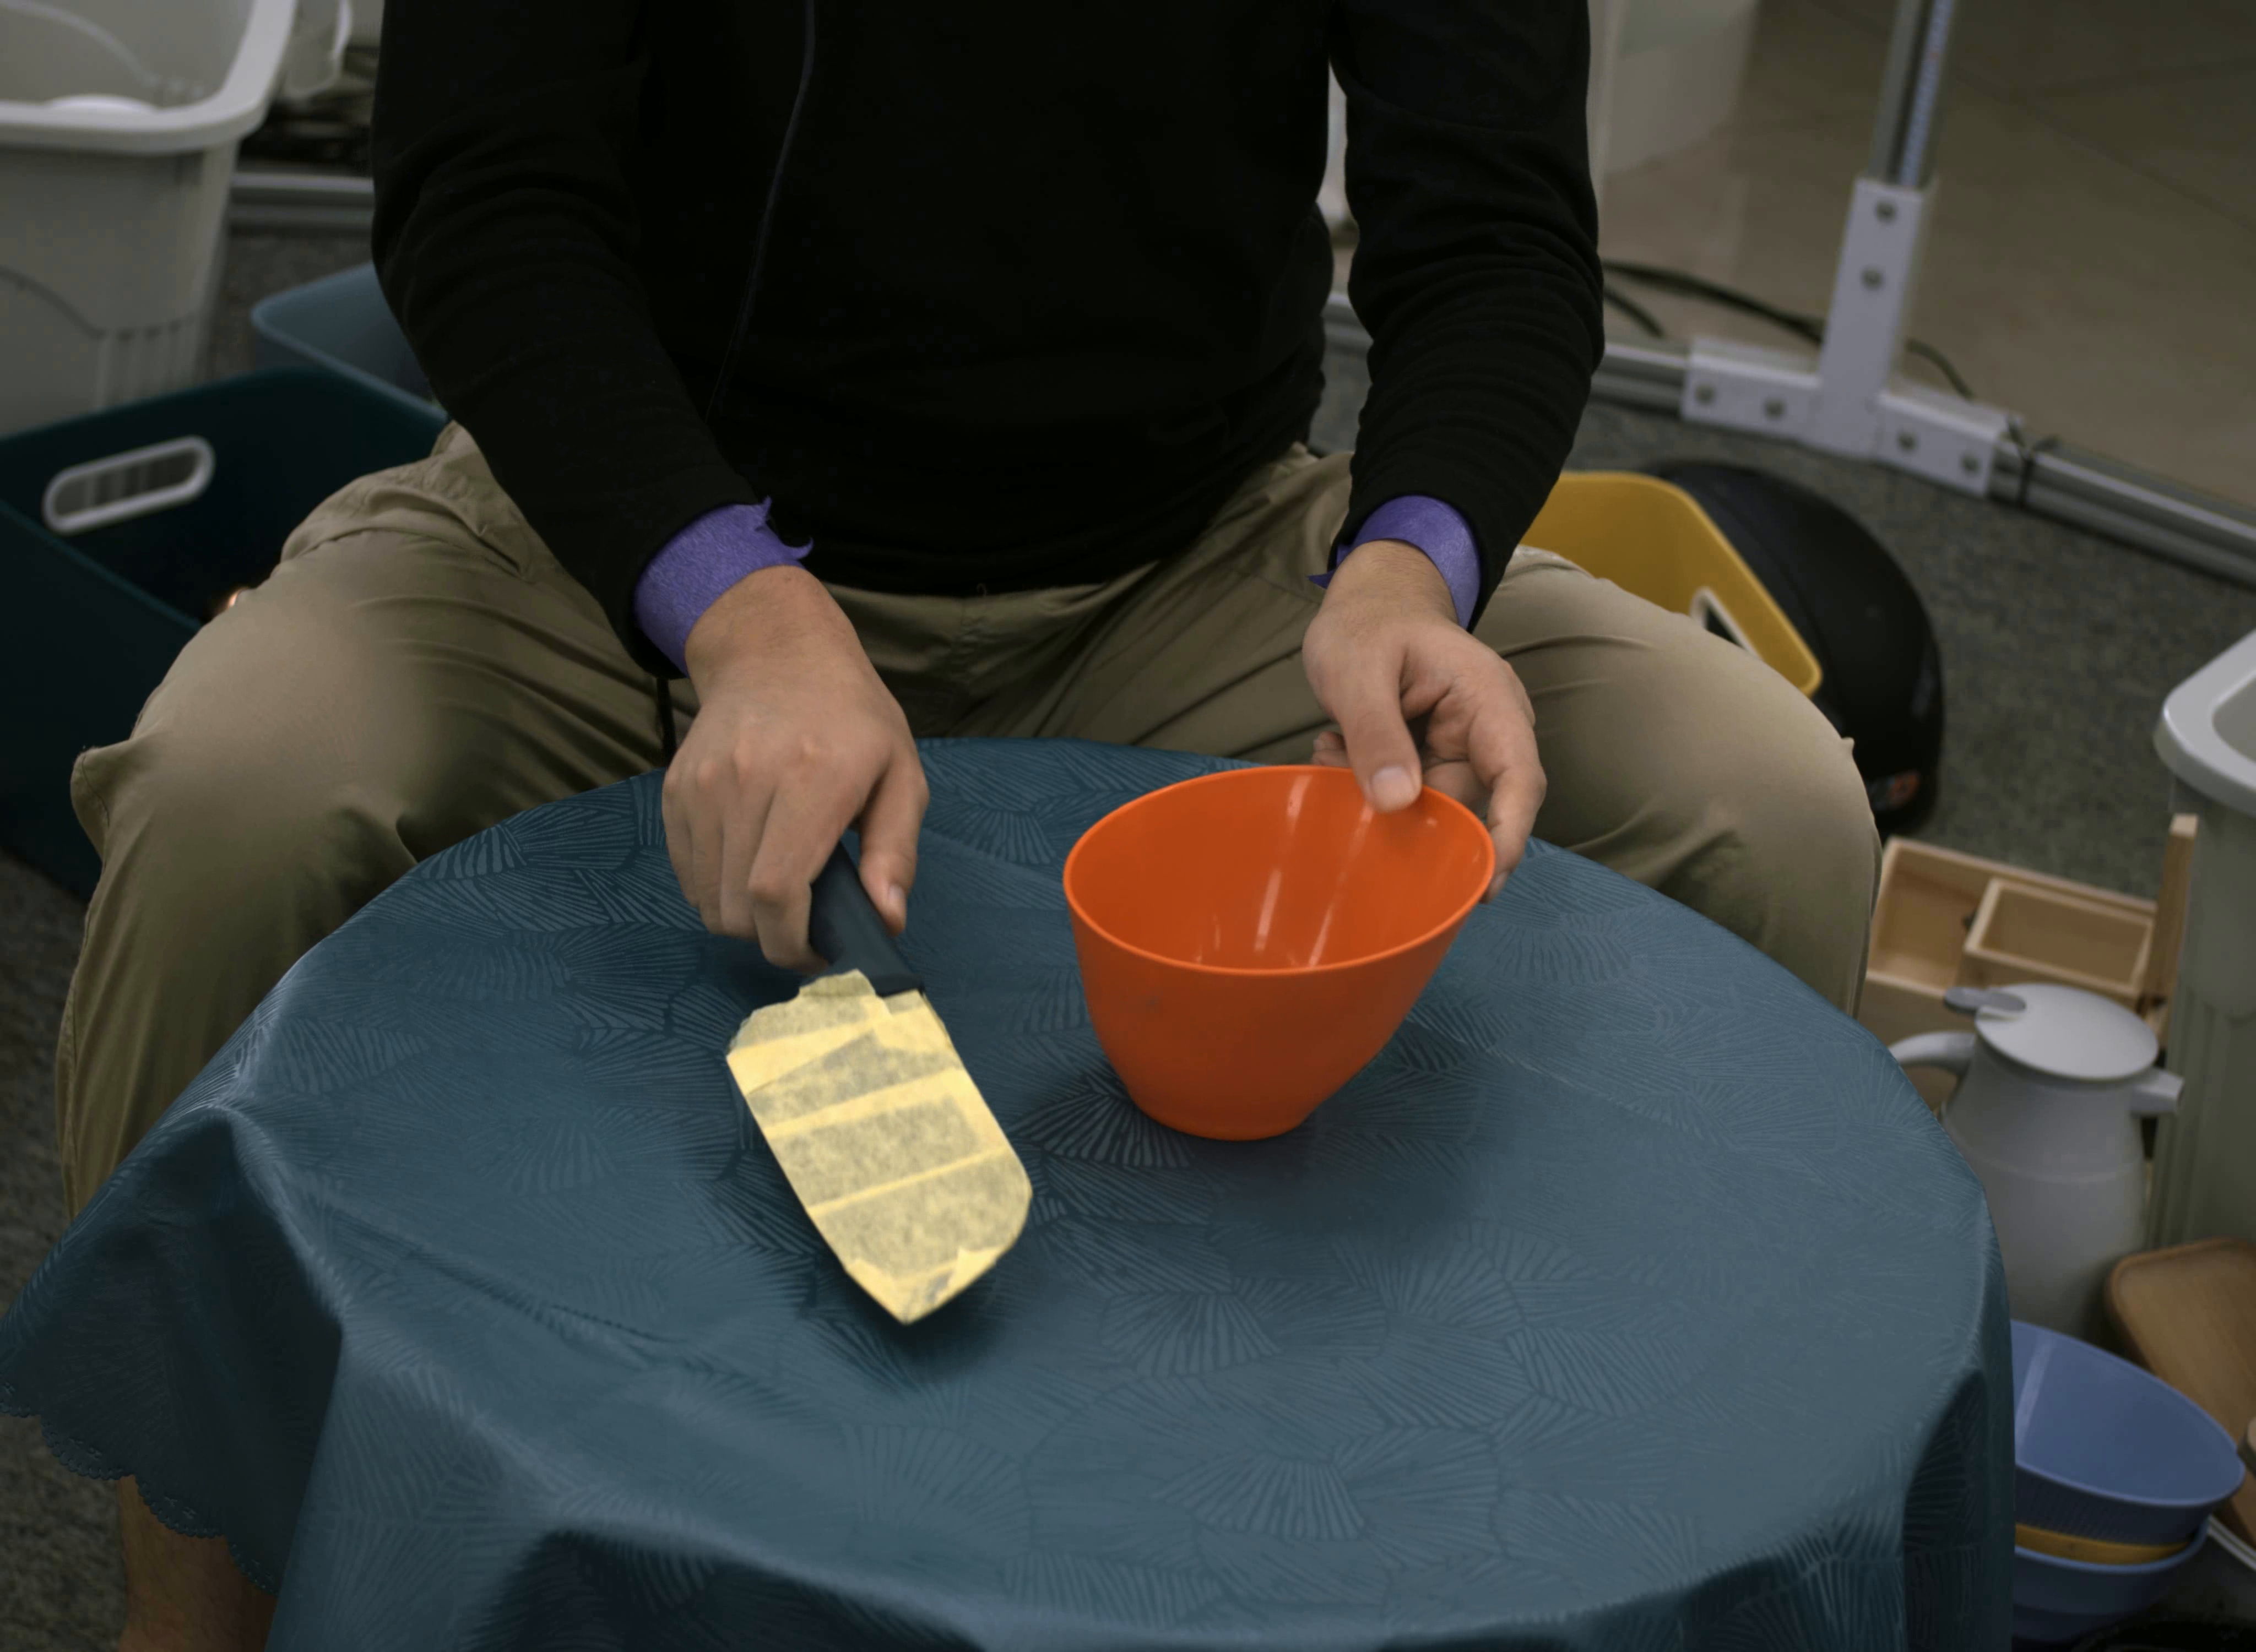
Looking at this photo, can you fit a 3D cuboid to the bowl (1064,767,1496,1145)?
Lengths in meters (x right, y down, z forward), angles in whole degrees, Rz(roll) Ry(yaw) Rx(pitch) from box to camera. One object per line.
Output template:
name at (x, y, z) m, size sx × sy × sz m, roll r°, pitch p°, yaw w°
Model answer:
bowl at (0.048, 0.051, 1.848) m, size 0.147 × 0.104 × 0.149 m, roll 4°, pitch 28°, yaw -3°

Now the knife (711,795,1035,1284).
knife at (-0.099, 0.071, 1.806) m, size 0.080 × 0.027 × 0.292 m, roll -13°, pitch 34°, yaw -12°
